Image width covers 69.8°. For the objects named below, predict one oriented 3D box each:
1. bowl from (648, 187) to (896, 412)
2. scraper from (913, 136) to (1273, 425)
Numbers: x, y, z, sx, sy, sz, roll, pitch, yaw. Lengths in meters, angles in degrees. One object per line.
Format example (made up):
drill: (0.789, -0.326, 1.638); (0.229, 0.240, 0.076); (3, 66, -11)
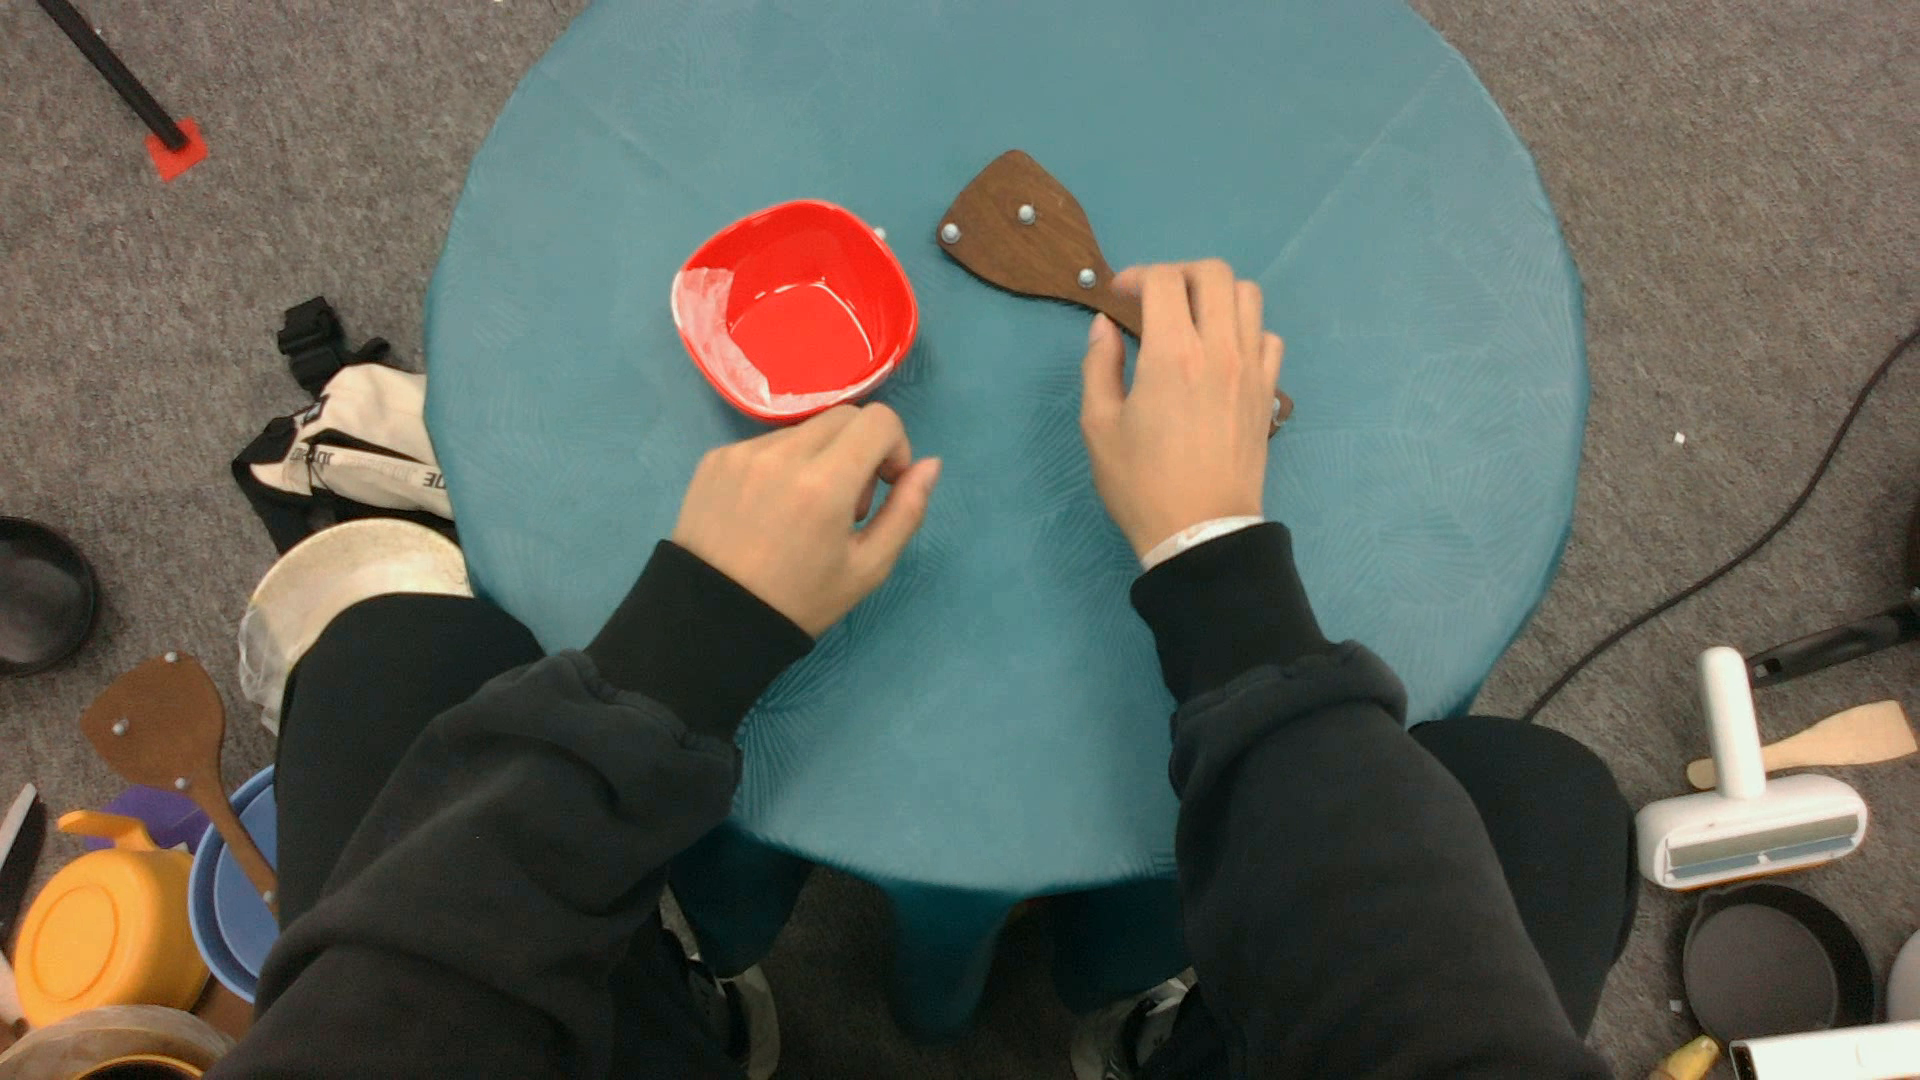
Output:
bowl: (-0.091, -0.110, 0.681); (0.119, 0.051, 0.119); (1, 69, -3)
scraper: (0.073, -0.130, 0.718); (0.211, 0.011, 0.076); (39, 75, 10)
